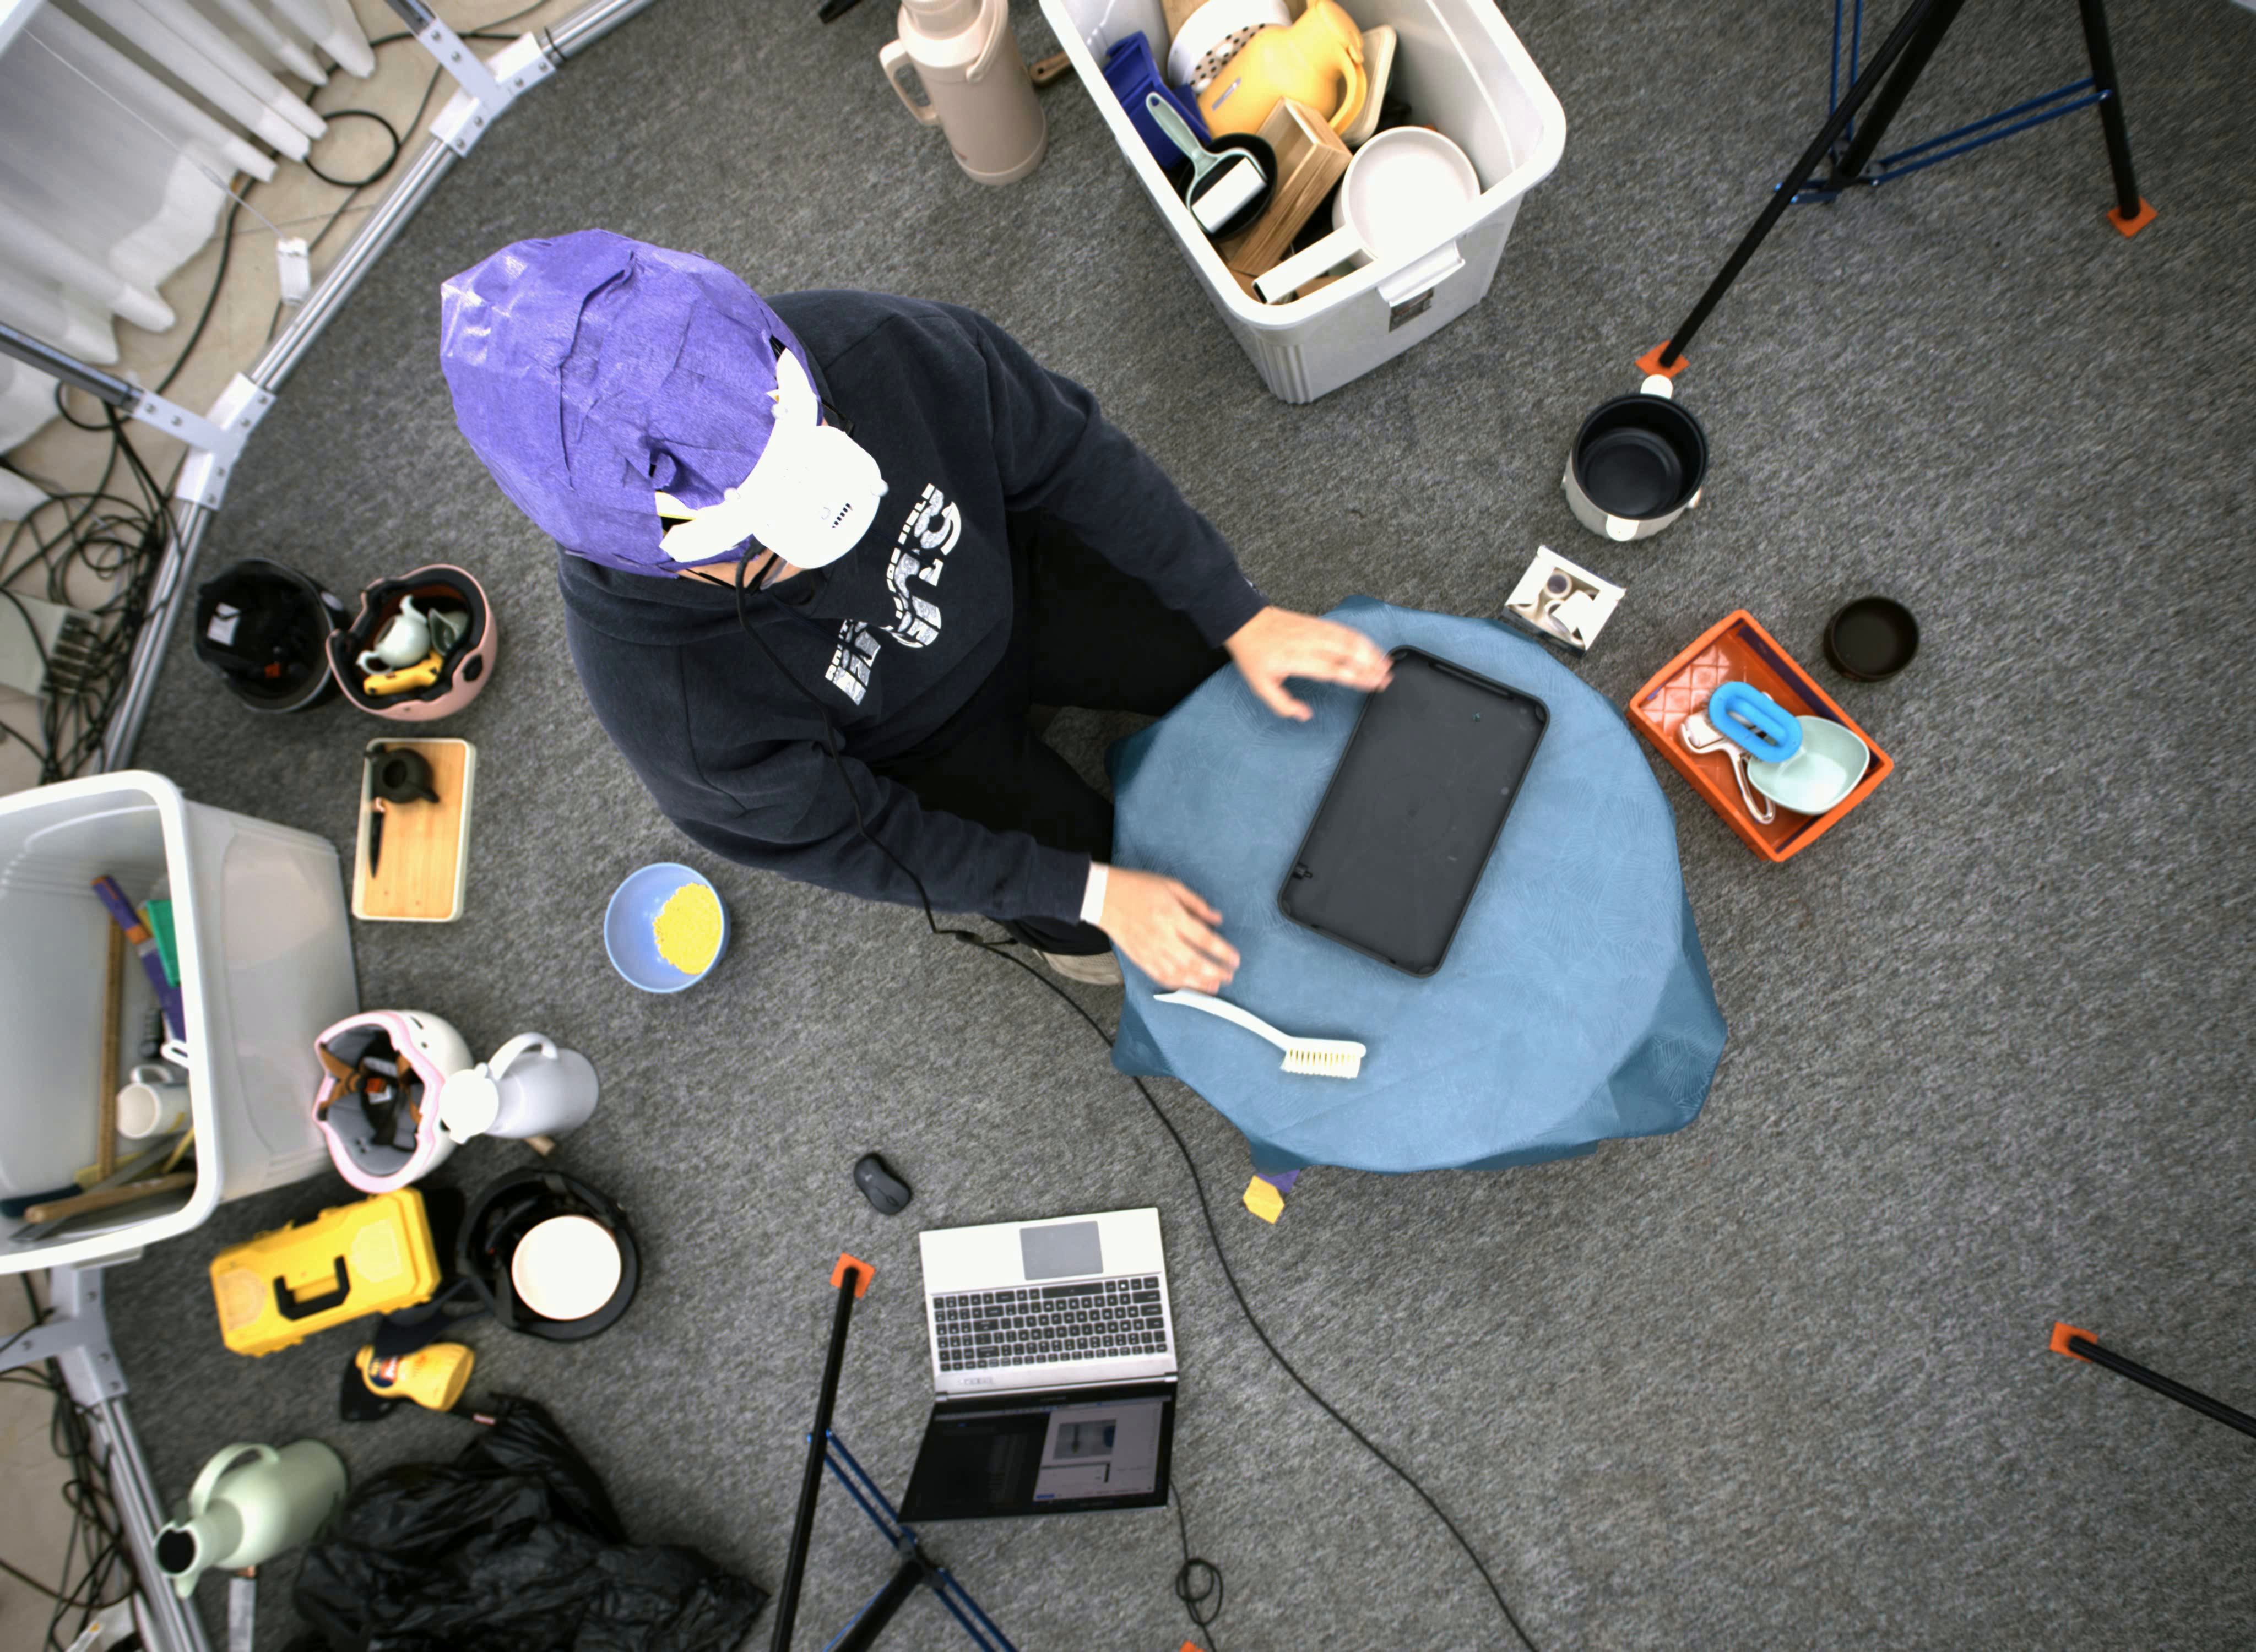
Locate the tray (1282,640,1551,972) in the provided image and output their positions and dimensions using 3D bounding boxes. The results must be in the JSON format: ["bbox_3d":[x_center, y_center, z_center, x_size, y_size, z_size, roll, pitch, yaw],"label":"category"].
[{"bbox_3d":[0.301,-0.023,1.443,0.184,0.037,0.318,23,91,12],"label":"tray"}]

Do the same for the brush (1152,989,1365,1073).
[{"bbox_3d":[0.133,0.217,1.459,0.229,0.038,0.049,16,82,11],"label":"brush"}]
